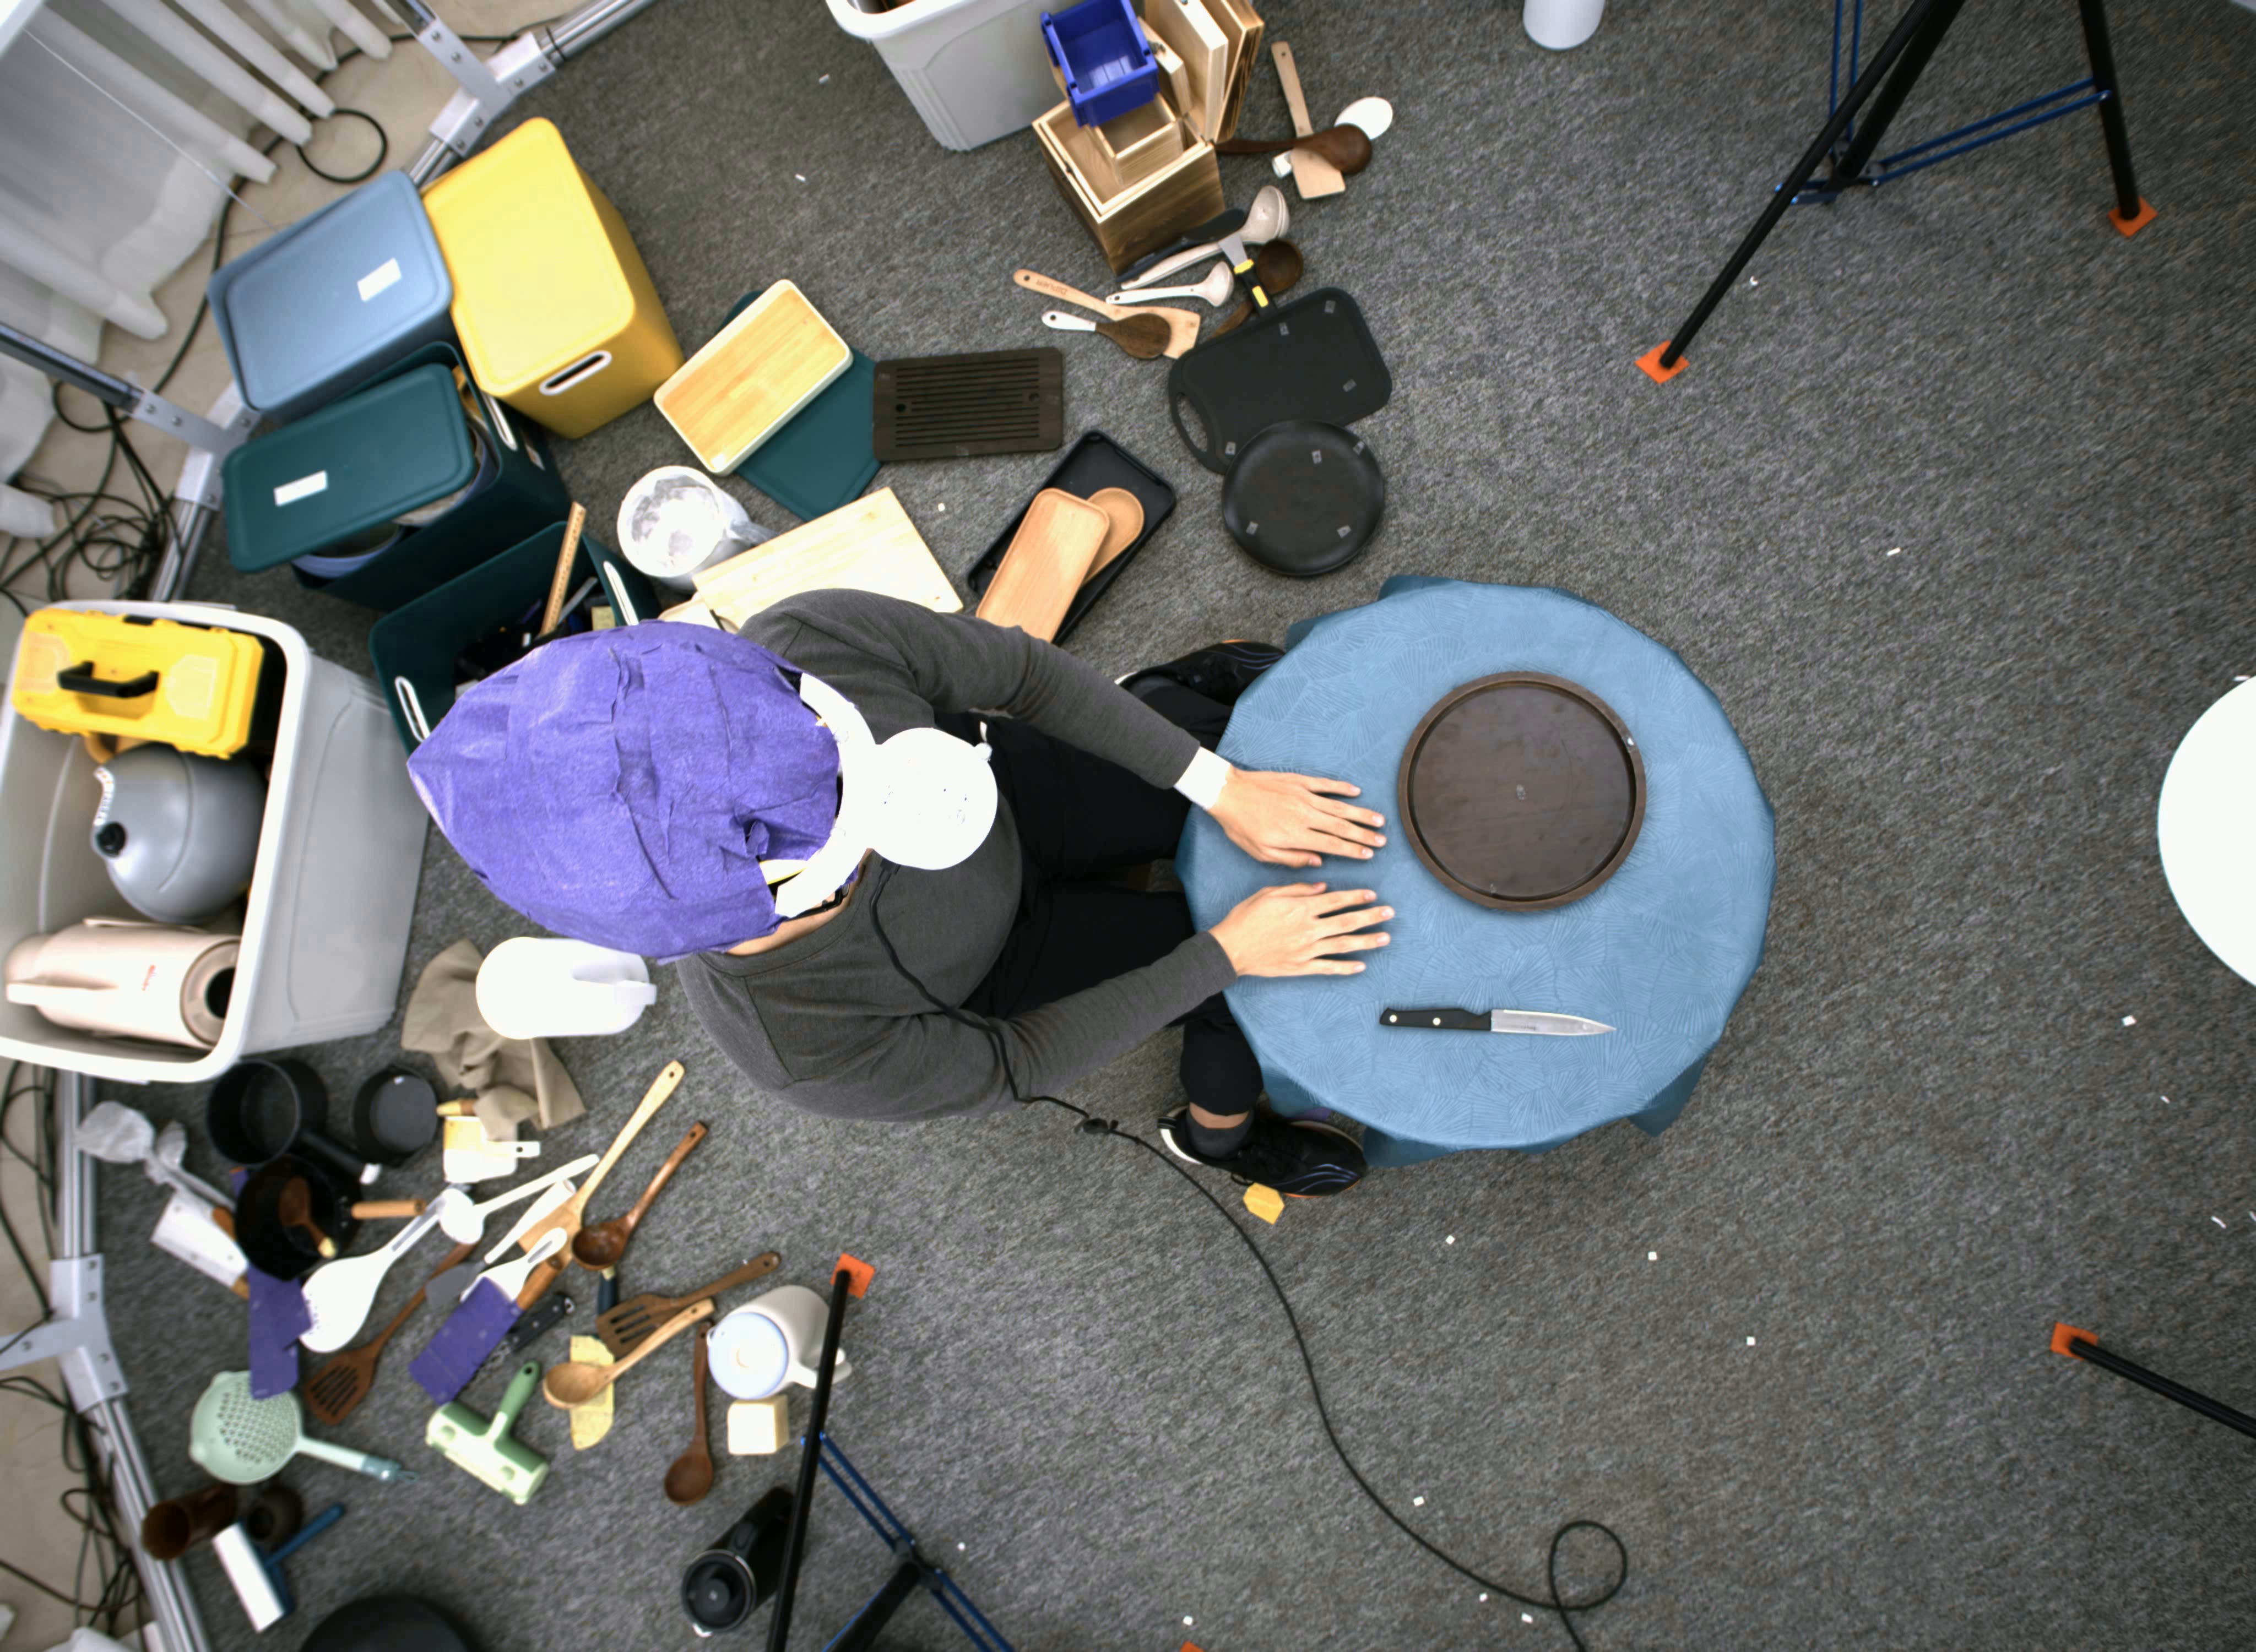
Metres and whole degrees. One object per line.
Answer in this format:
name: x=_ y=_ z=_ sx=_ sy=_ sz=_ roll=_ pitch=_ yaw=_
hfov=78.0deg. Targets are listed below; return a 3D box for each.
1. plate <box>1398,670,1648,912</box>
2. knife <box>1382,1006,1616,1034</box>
plate: x=0.410 y=-0.039 z=1.428 sx=0.256 sy=0.029 sz=0.253 roll=-1 pitch=86 yaw=10
knife: x=0.383 y=0.200 z=1.426 sx=0.239 sy=0.016 sz=0.024 roll=1 pitch=86 yaw=8
